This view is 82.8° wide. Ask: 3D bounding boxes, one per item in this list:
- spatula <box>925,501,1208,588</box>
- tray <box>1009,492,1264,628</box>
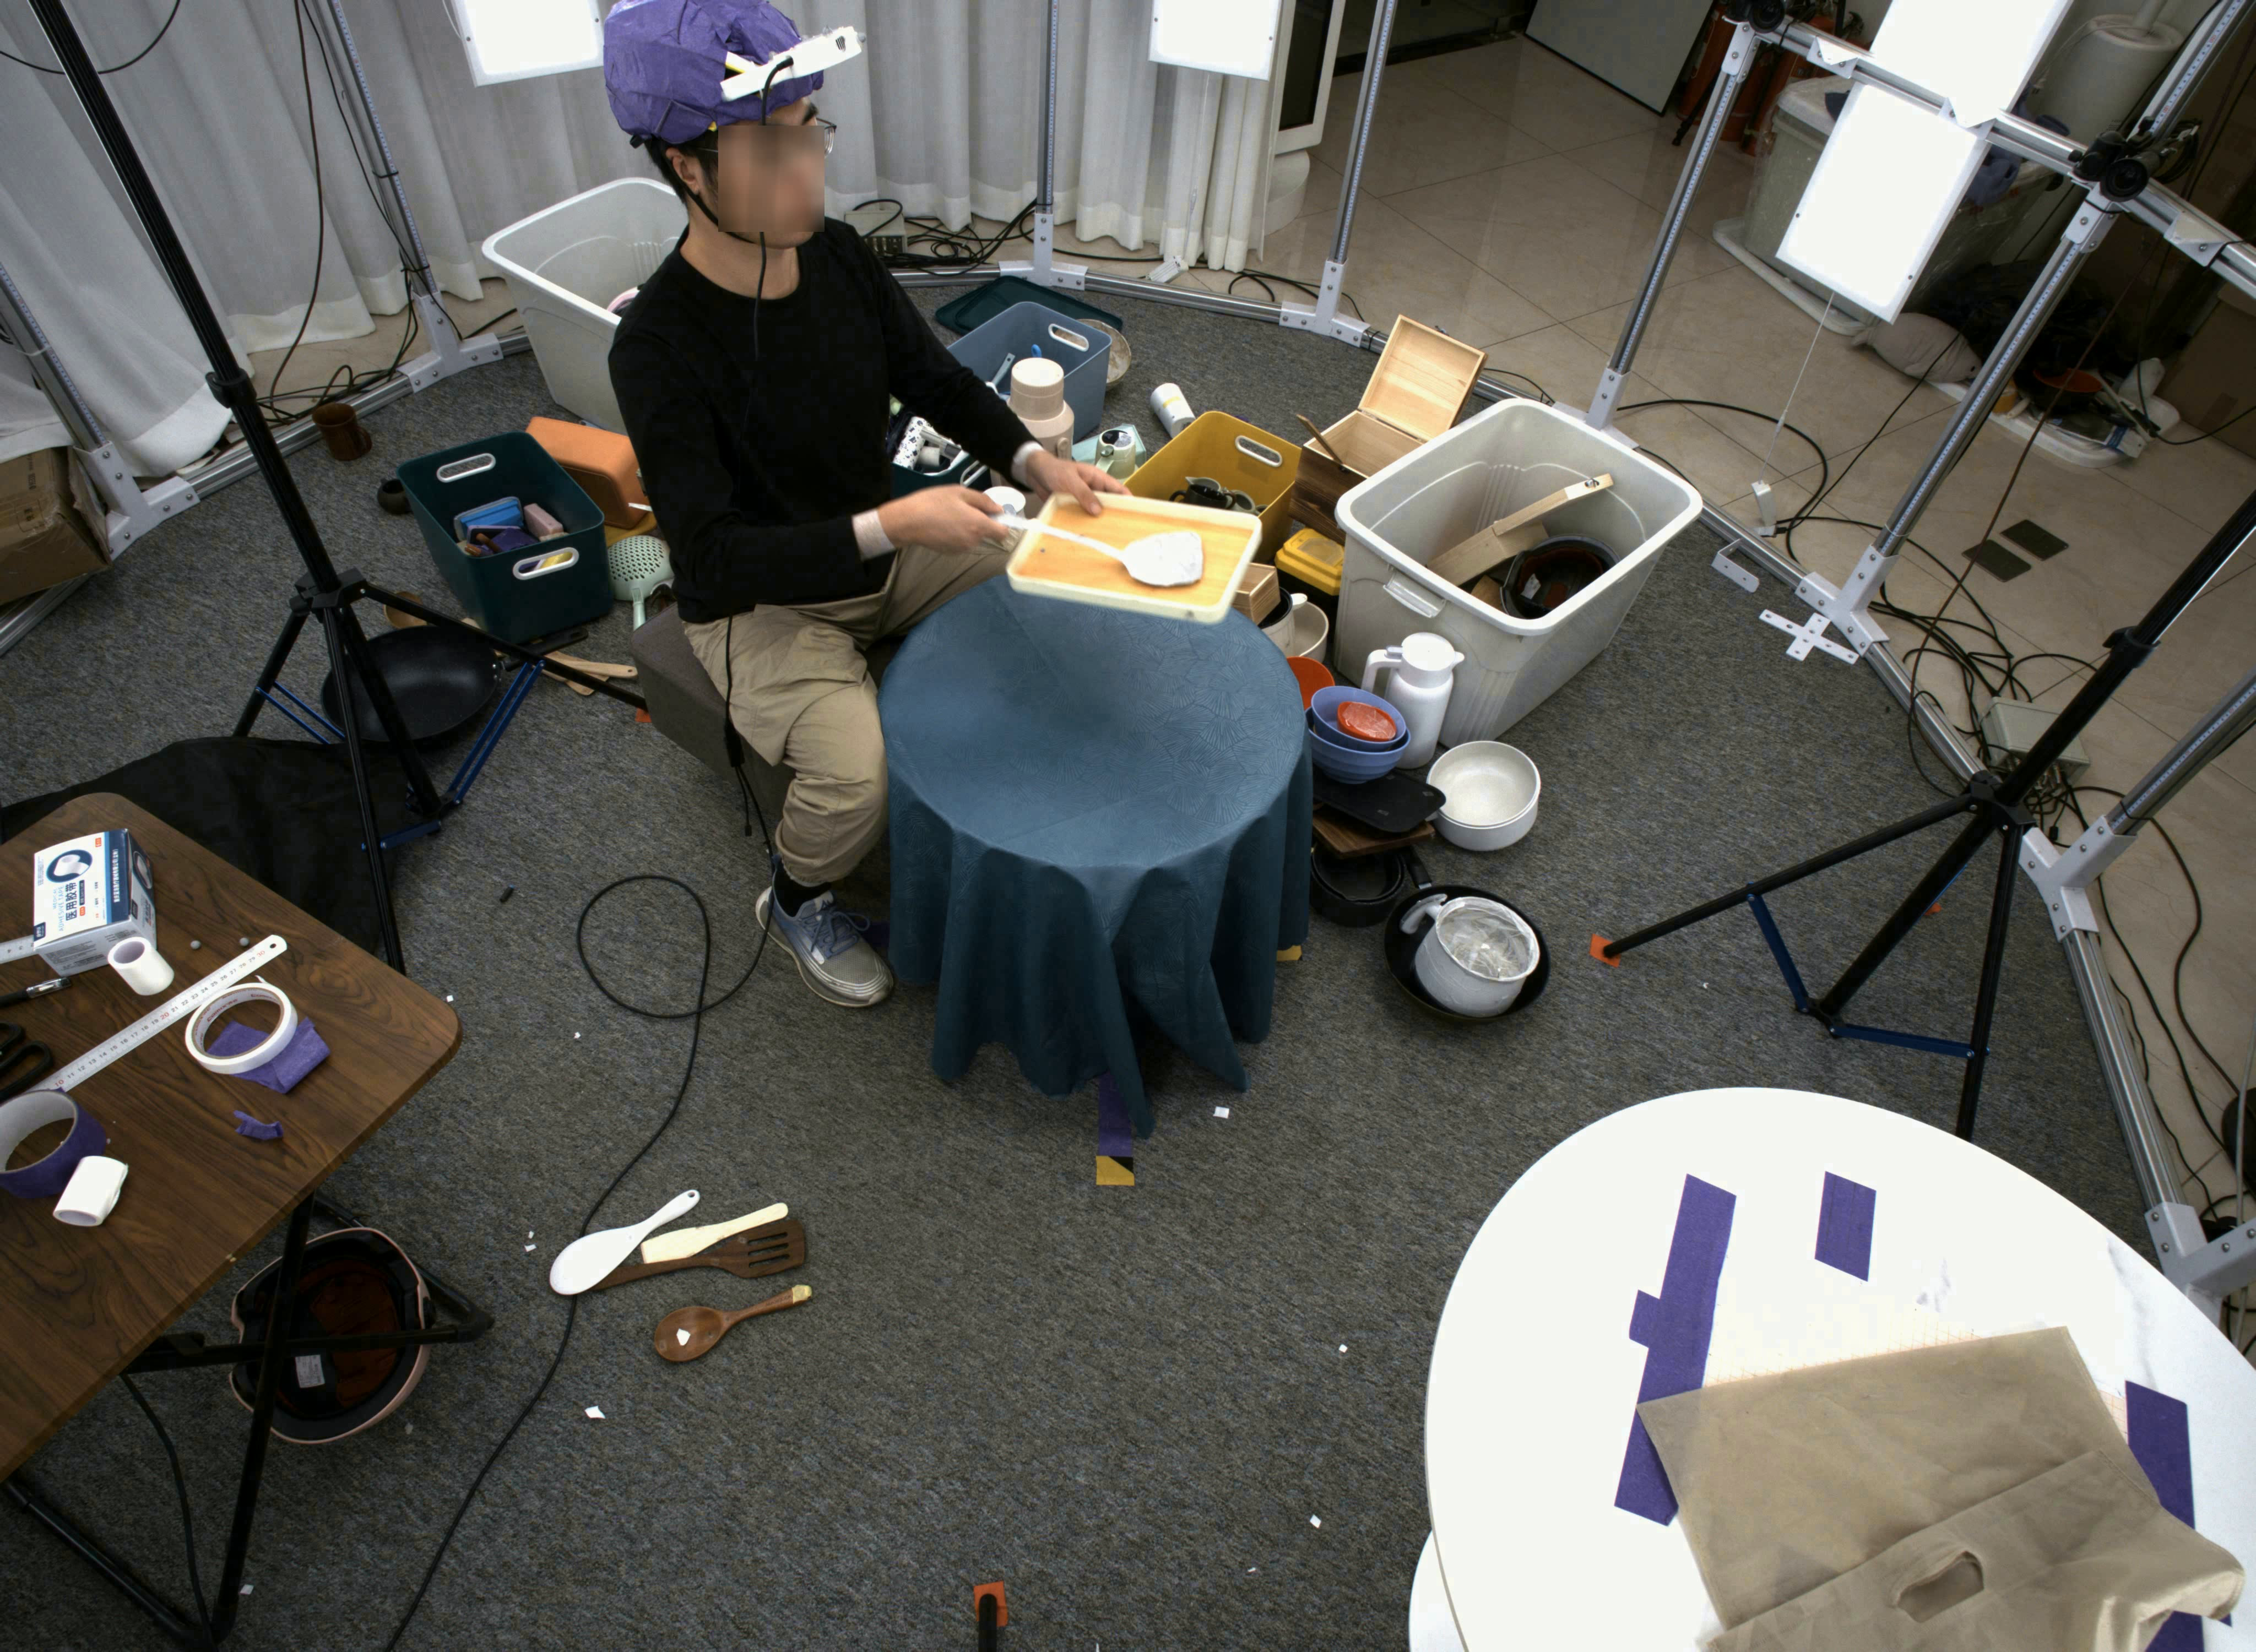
[{"bbox_3d":[-0.076,-0.370,1.643,0.363,0.044,0.101,12,53,-12],"label":"spatula"},{"bbox_3d":[0.012,-0.353,1.688,0.302,0.027,0.195,13,54,20],"label":"tray"}]
